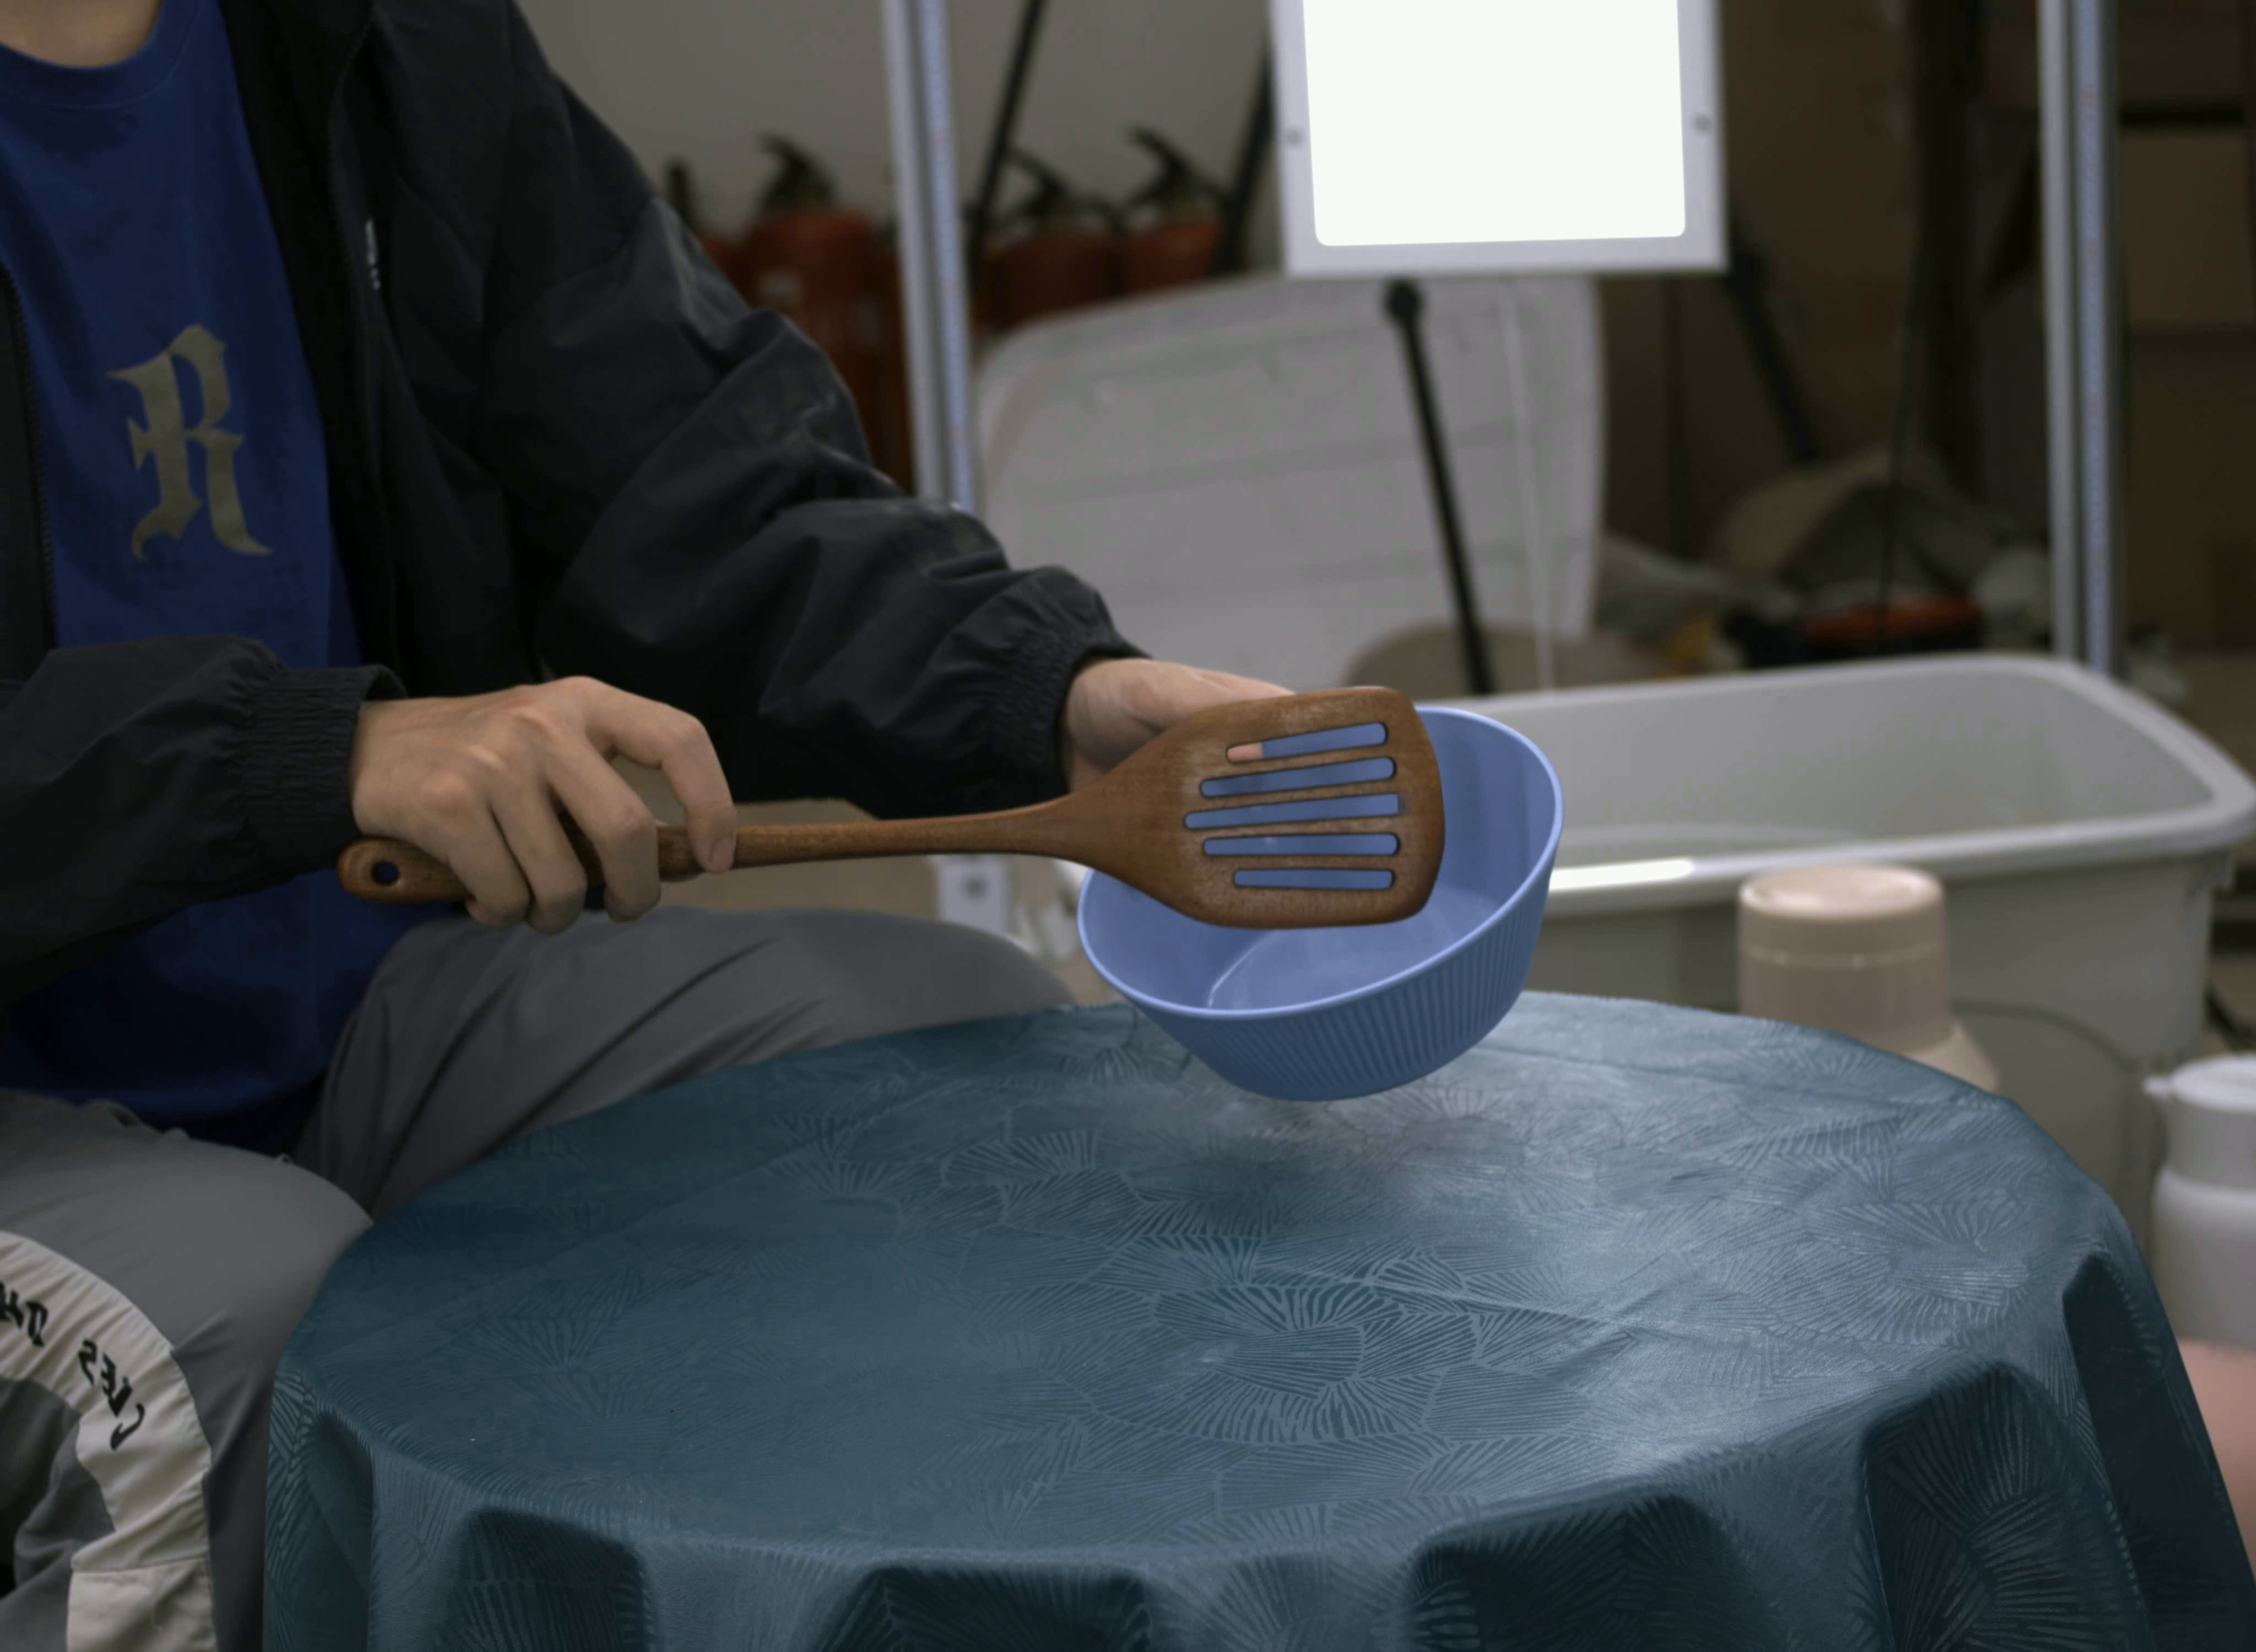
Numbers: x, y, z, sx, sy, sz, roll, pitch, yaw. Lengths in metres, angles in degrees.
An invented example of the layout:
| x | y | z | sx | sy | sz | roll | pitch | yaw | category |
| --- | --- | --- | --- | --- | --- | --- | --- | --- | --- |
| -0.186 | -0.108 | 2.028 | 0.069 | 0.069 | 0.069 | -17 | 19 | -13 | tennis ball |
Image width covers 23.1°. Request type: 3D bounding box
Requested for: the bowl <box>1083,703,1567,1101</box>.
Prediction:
| x | y | z | sx | sy | sz | roll | pitch | yaw | category |
| --- | --- | --- | --- | --- | --- | --- | --- | --- | --- |
| 0.077 | 0.035 | 1.918 | 0.177 | 0.070 | 0.175 | -16 | 32 | 9 | bowl |

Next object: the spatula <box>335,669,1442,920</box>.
| x | y | z | sx | sy | sz | roll | pitch | yaw | category |
| --- | --- | --- | --- | --- | --- | --- | --- | --- | --- |
| -0.084 | 0.003 | 1.910 | 0.387 | 0.086 | 0.024 | -5 | 3 | 5 | spatula |
